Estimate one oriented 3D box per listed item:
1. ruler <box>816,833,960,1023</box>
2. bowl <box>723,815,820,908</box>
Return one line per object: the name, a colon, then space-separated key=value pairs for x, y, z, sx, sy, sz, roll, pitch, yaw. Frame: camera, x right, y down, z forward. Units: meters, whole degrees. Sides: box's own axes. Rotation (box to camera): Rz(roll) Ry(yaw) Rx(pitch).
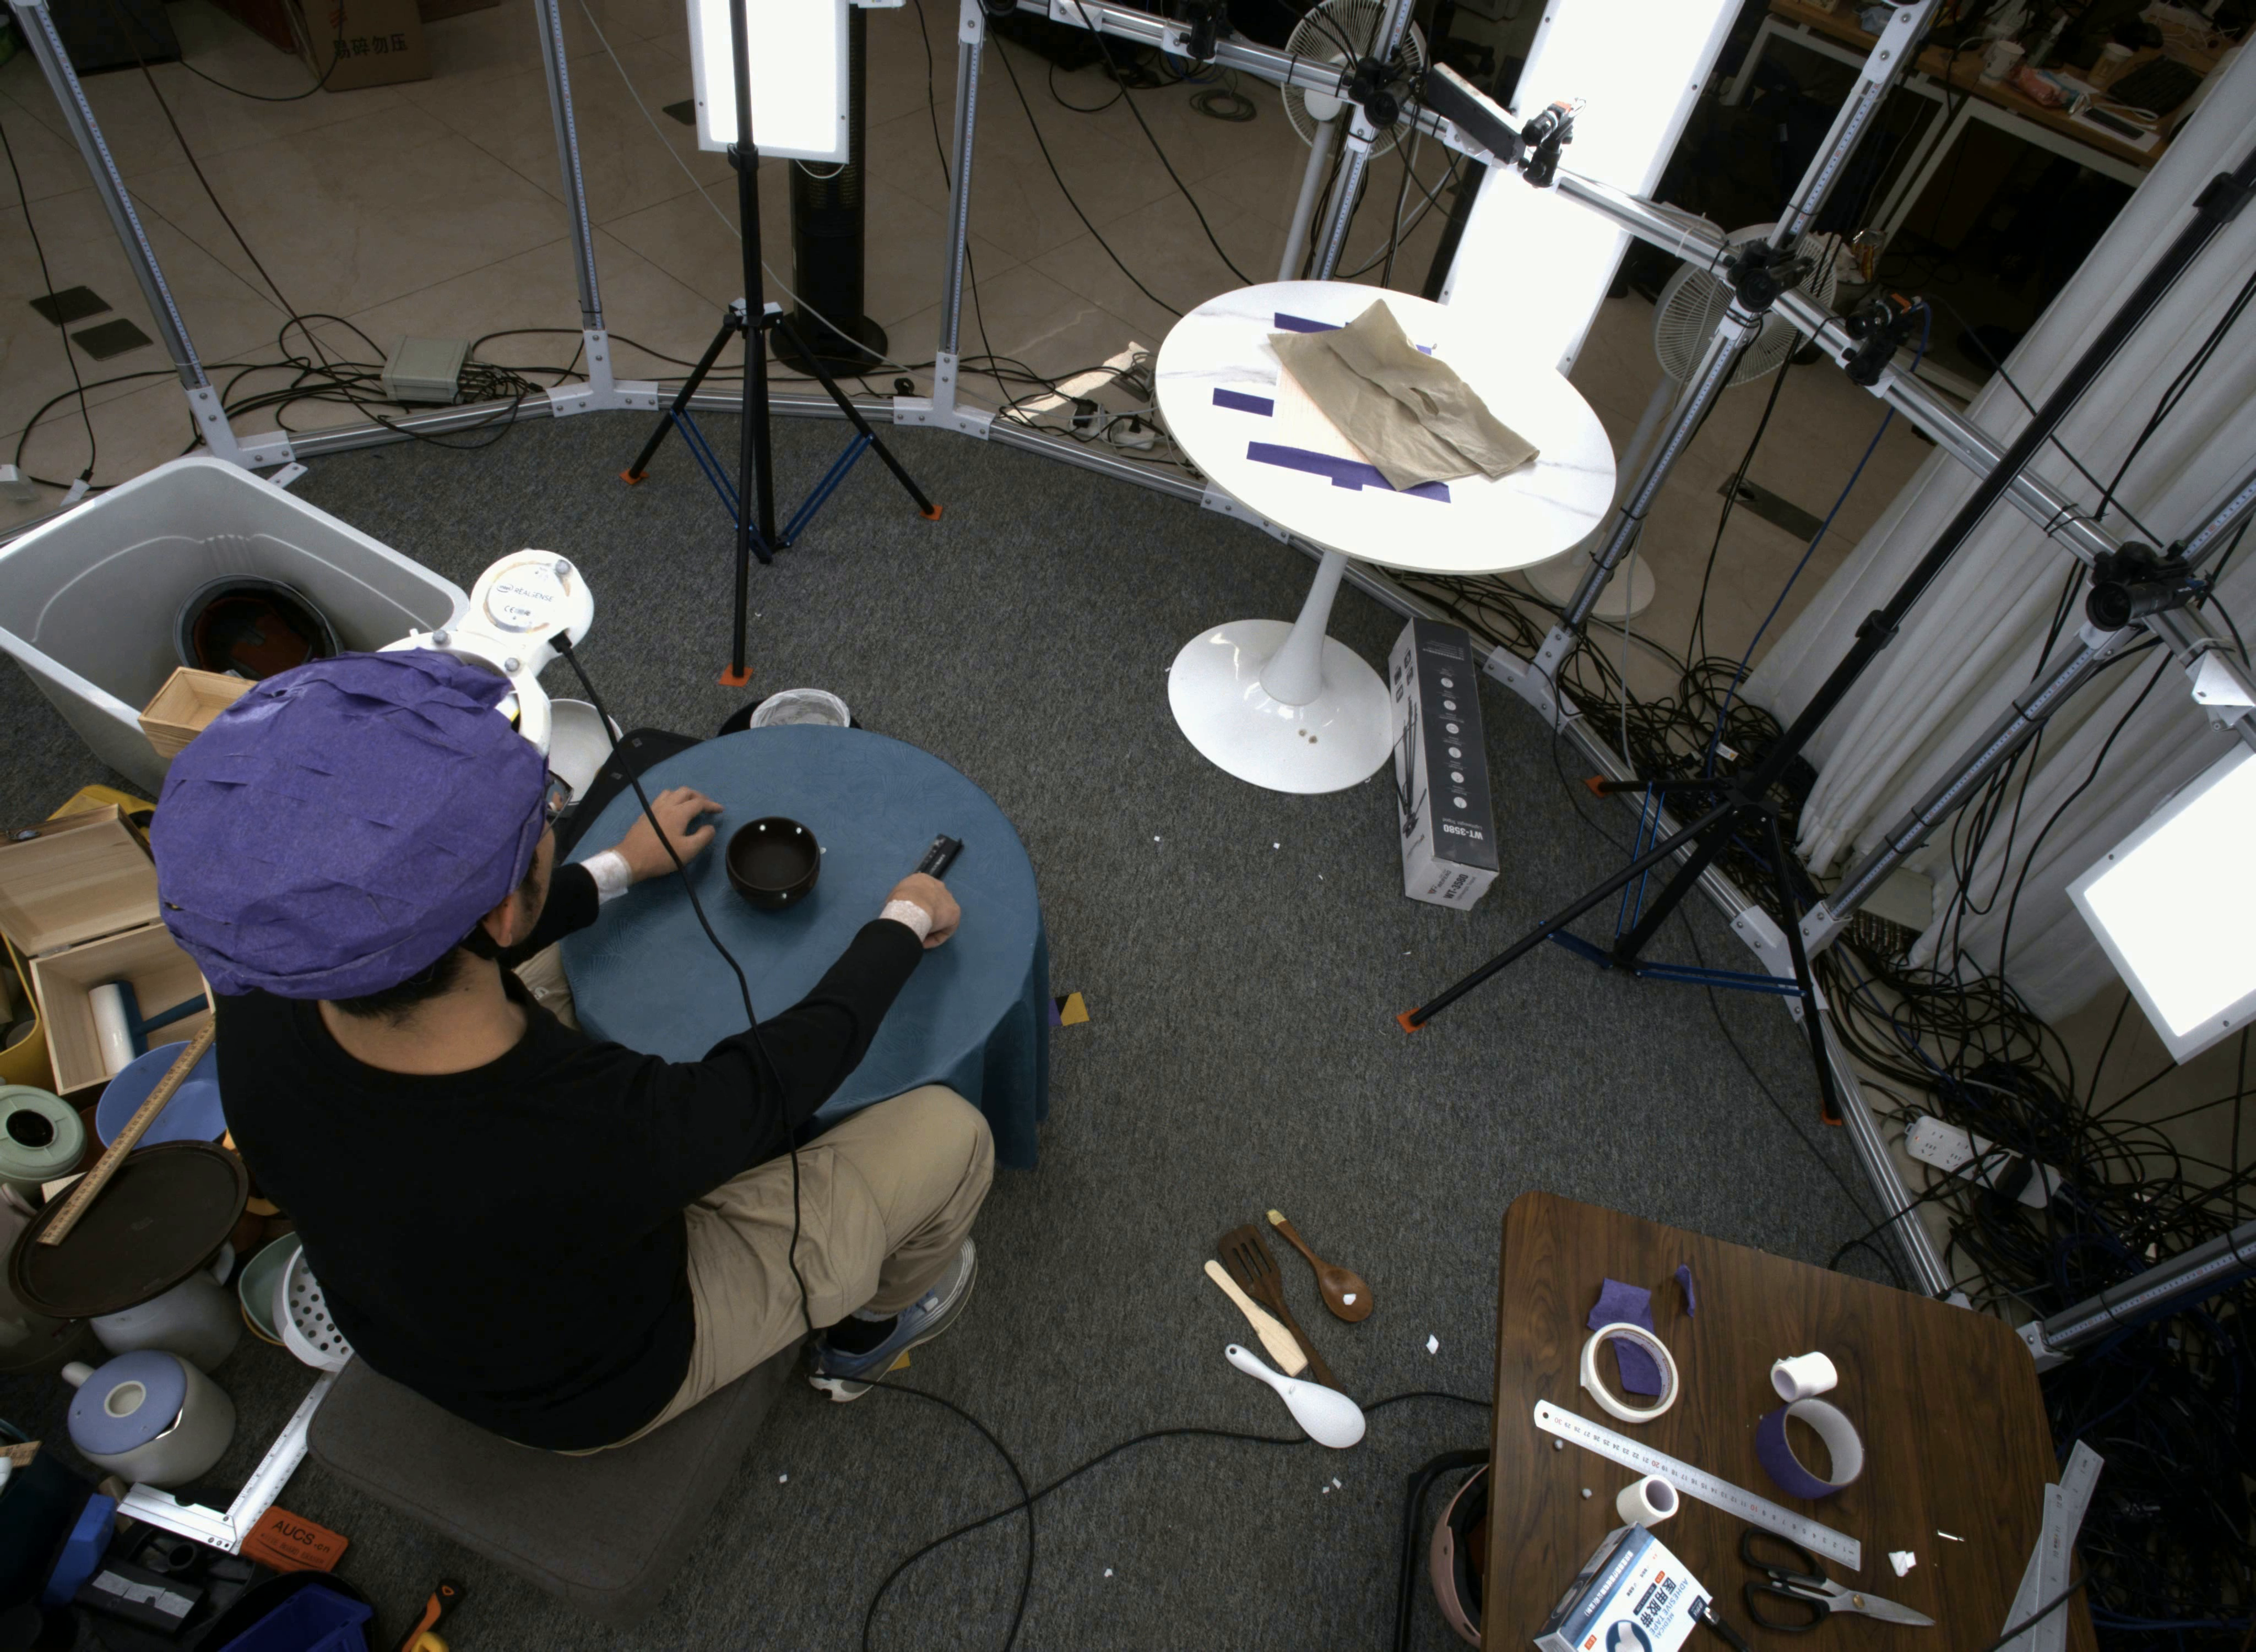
ruler: x=-0.300 y=0.117 z=1.653 sx=0.039 sy=0.017 sz=0.310 roll=25 pitch=52 yaw=6
bowl: x=-0.447 y=0.051 z=1.627 sx=0.118 sy=0.071 sz=0.116 roll=8 pitch=51 yaw=-8
